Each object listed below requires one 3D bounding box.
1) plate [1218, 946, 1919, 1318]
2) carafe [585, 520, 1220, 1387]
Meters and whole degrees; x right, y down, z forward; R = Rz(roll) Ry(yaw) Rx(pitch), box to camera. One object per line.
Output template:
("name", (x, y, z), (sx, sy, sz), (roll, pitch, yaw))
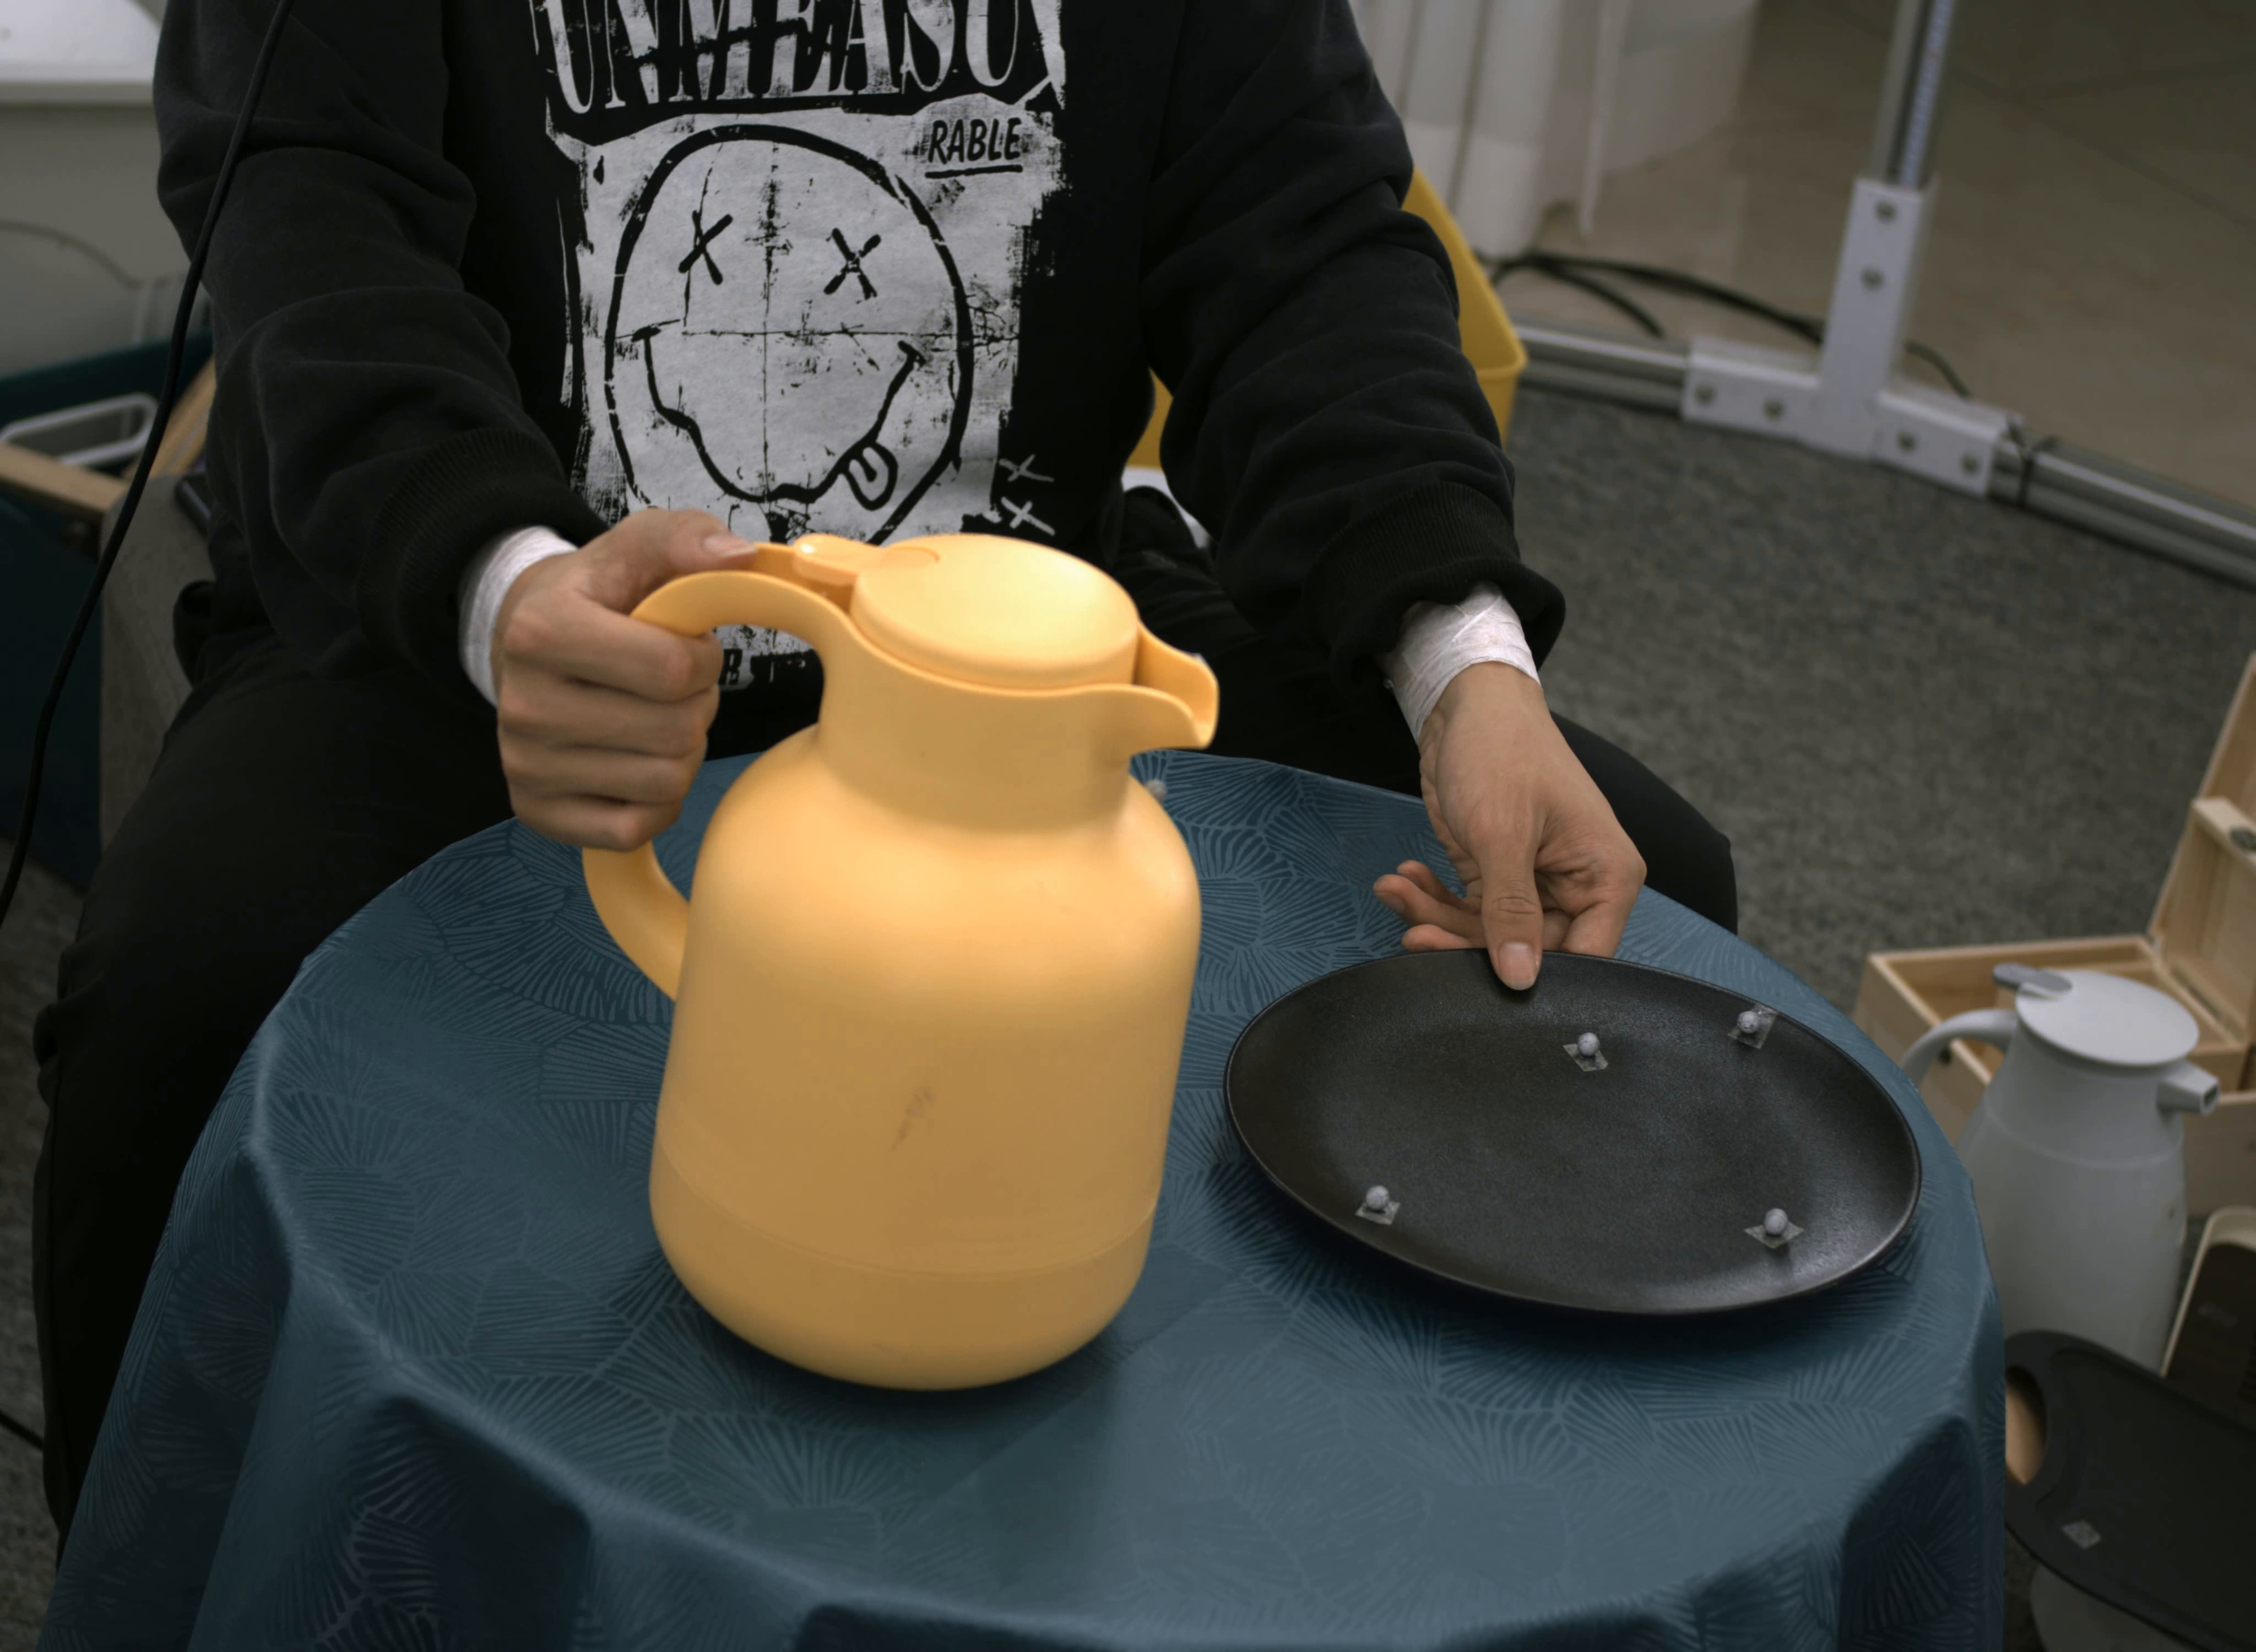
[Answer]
("plate", (0.151, 0.110, 1.839), (0.243, 0.023, 0.246), (5, 27, -3))
("carafe", (-0.078, 0.029, 1.677), (0.203, 0.260, 0.163), (20, 26, 16))
